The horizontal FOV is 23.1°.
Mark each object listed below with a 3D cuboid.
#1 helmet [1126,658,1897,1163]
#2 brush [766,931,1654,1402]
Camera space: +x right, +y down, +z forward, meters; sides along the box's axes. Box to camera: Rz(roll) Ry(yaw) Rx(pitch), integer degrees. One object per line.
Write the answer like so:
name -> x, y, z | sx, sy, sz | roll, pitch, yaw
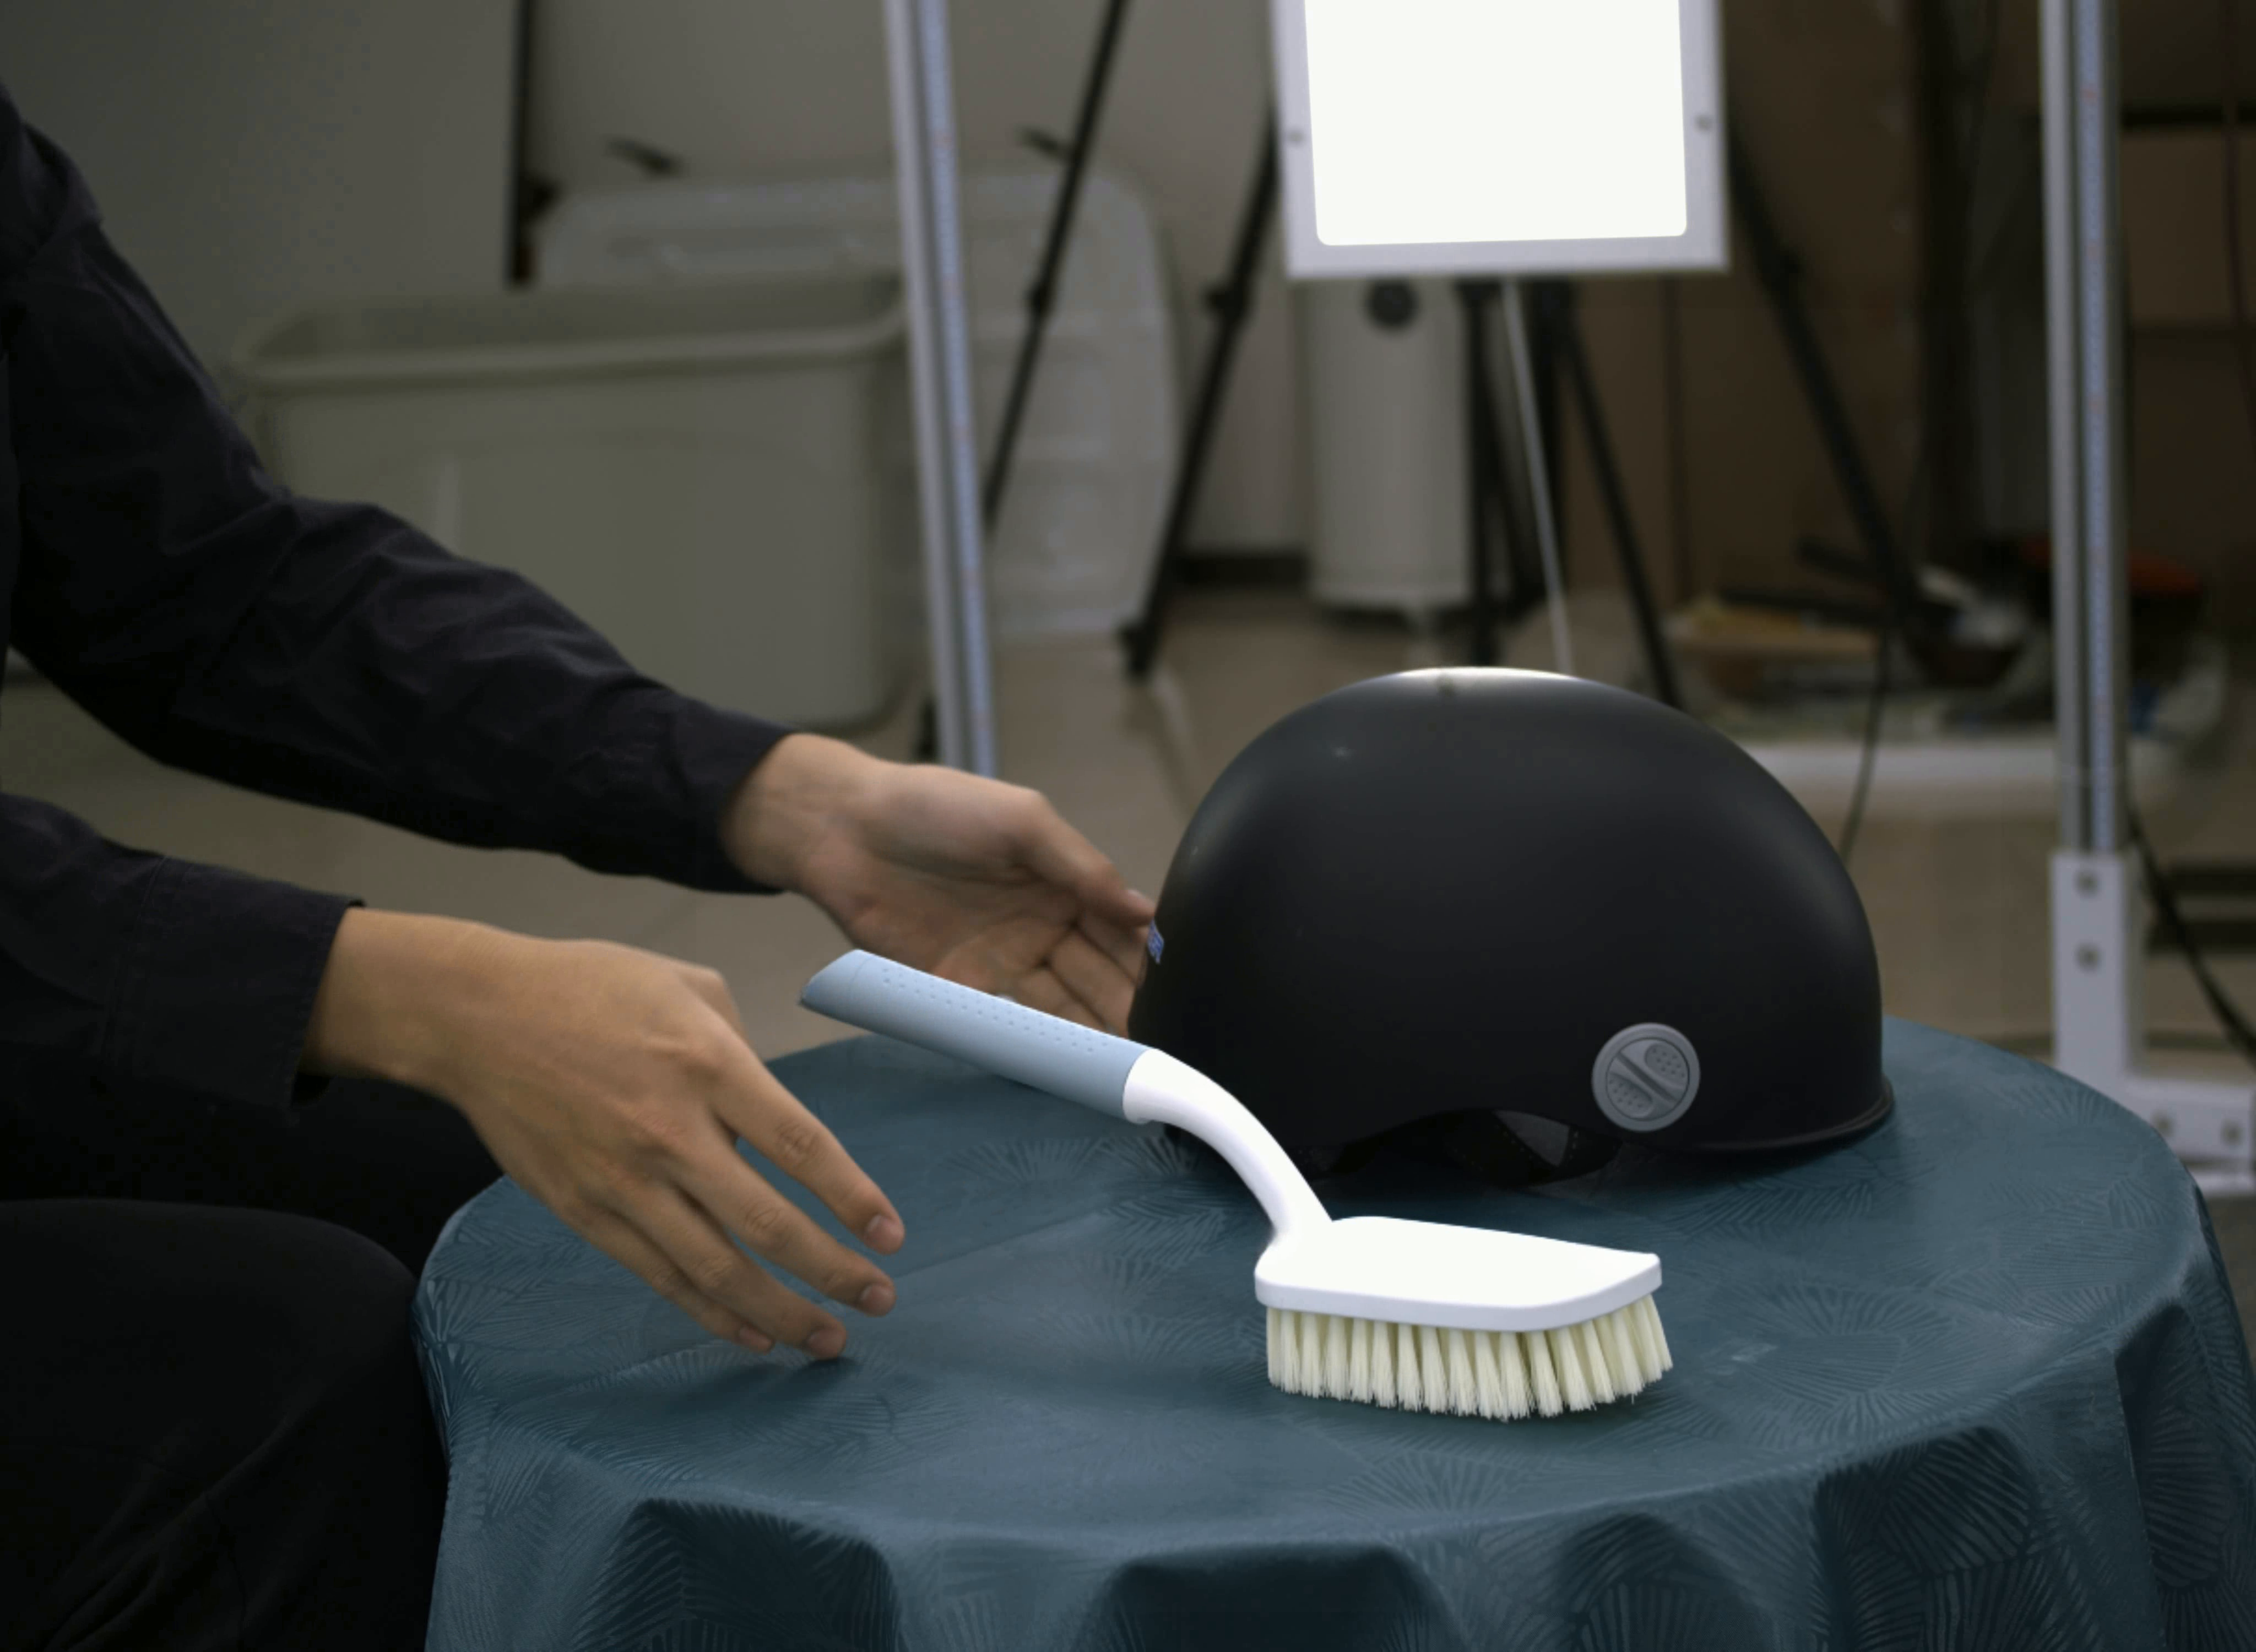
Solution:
helmet -> 0.134, 0.025, 1.930 | 0.273, 0.167, 0.229 | -1, 14, 4
brush -> 0.020, 0.120, 1.735 | 0.331, 0.084, 0.082 | 18, -14, 30
